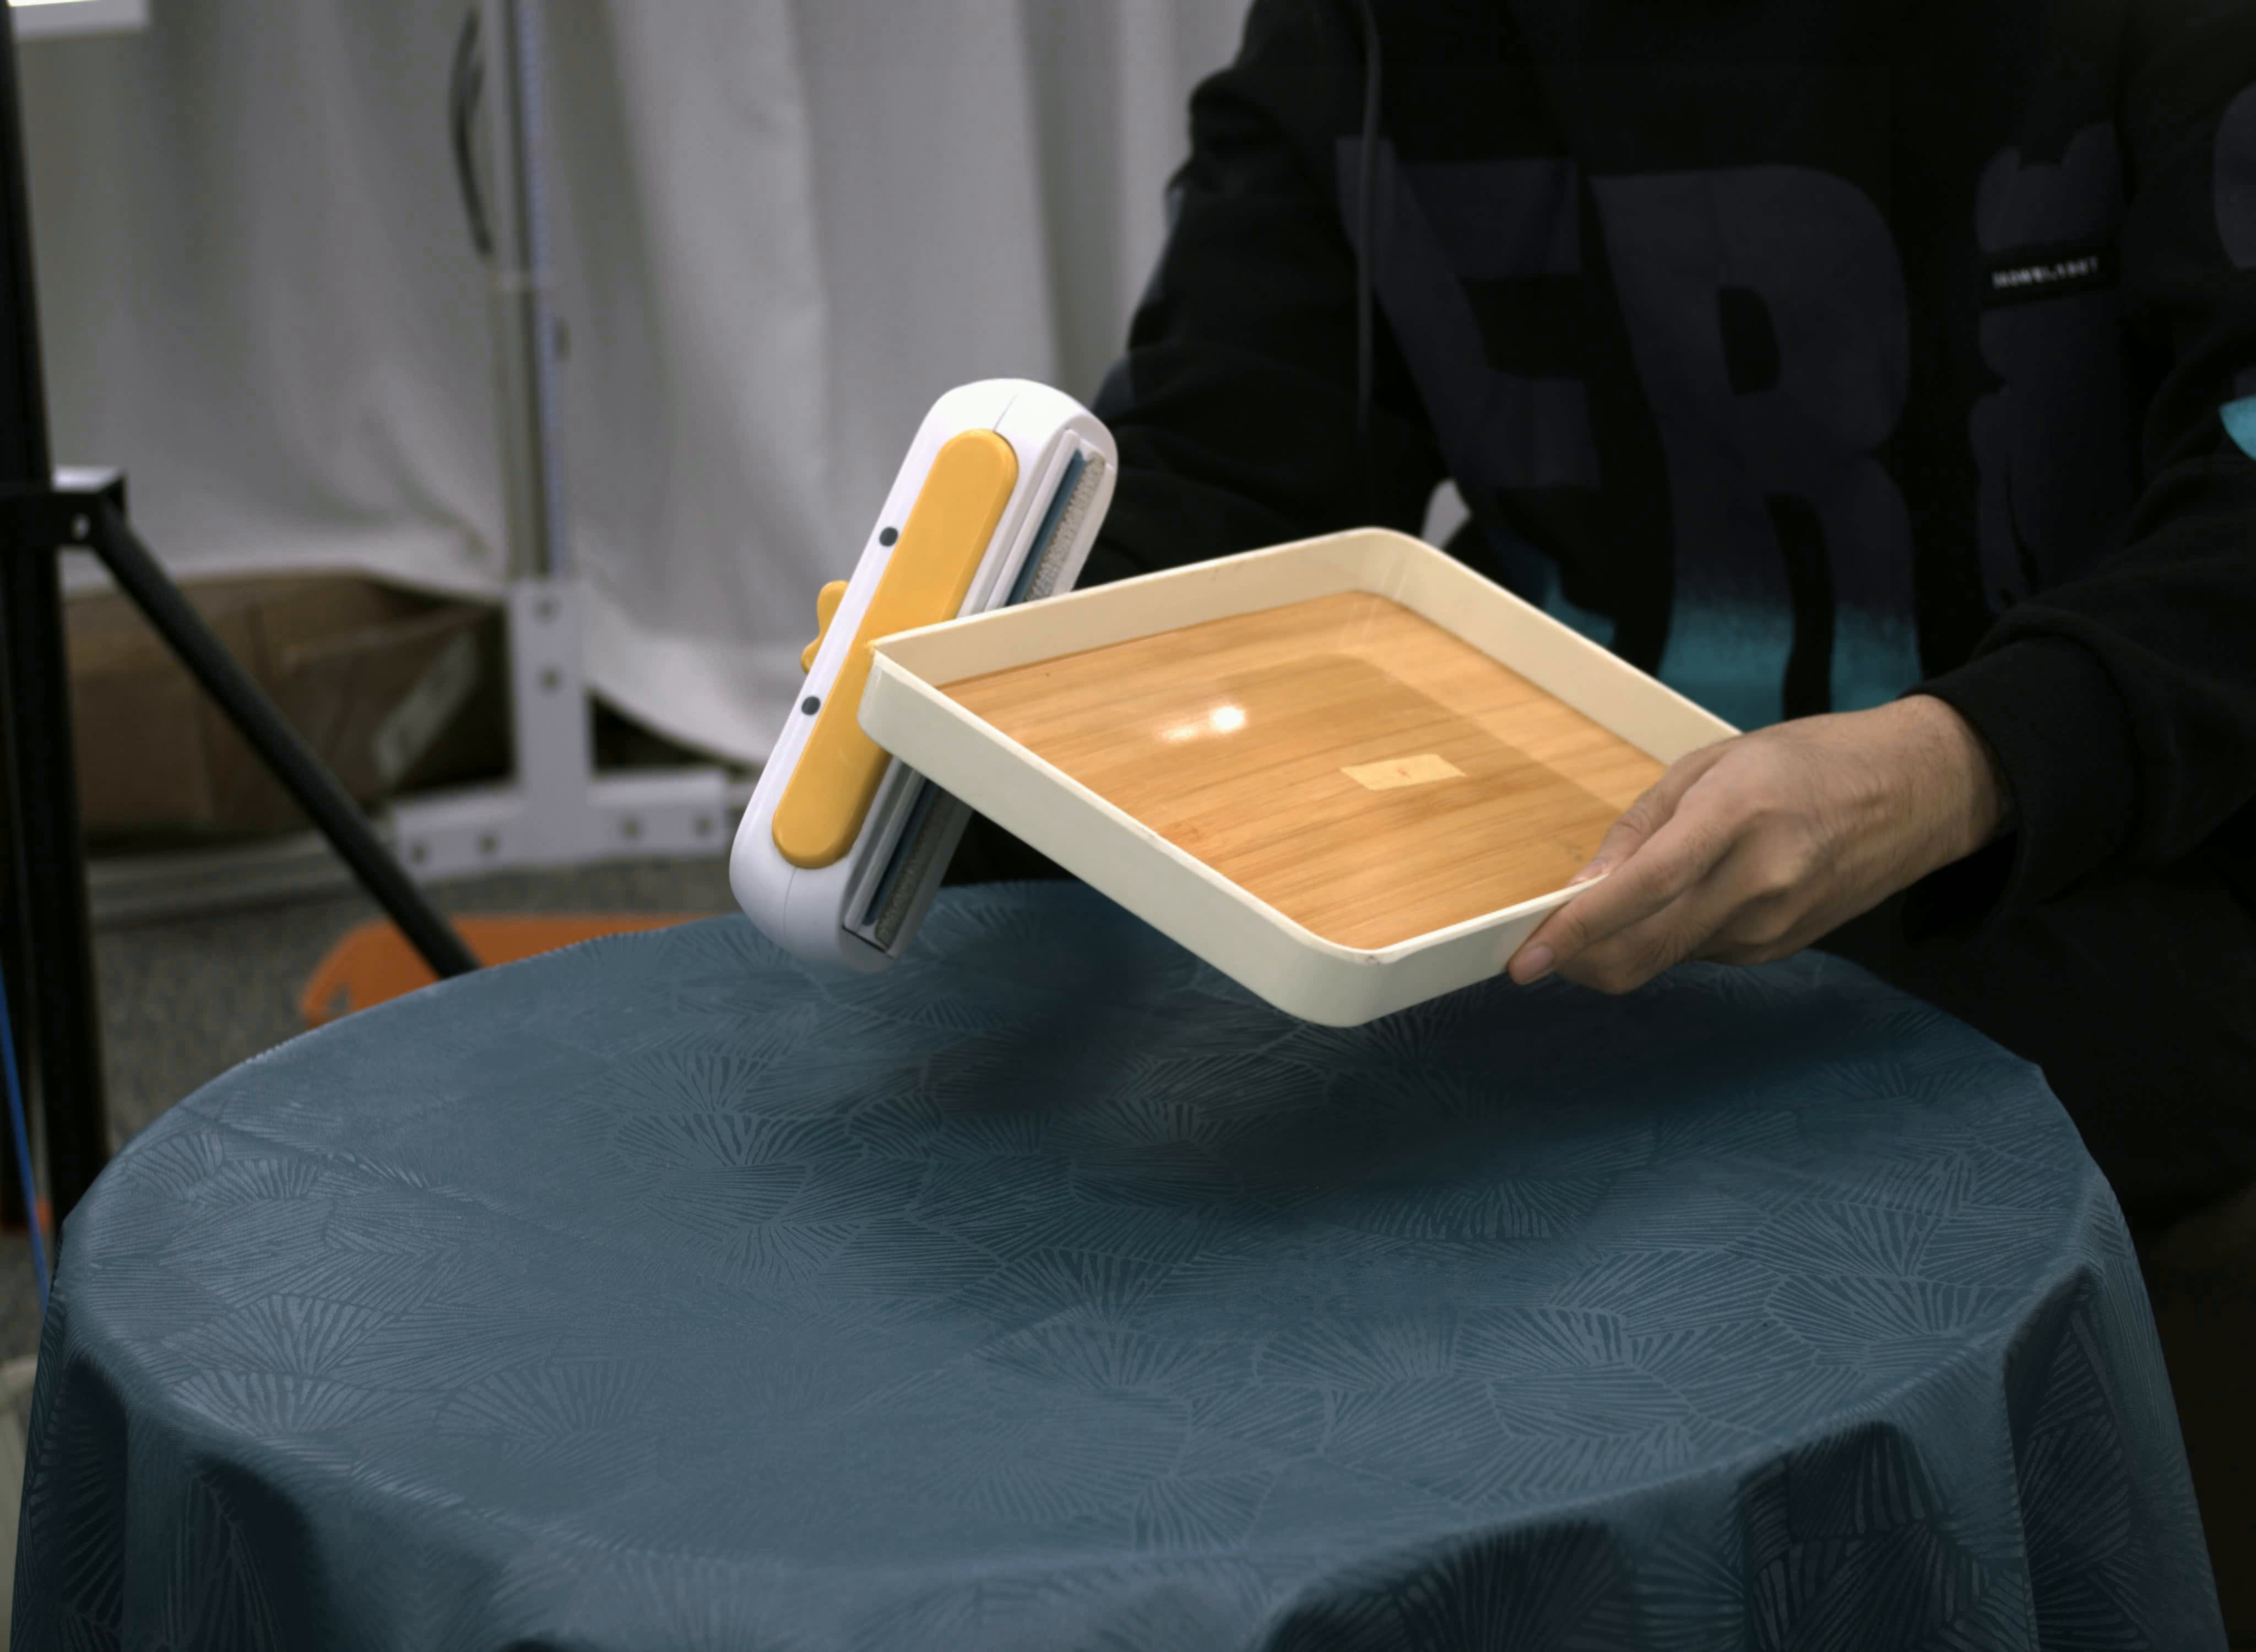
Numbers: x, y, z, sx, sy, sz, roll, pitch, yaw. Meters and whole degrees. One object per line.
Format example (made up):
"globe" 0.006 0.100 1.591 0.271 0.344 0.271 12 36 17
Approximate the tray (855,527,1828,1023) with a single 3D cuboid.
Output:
"tray" 0.071 -0.021 1.630 0.195 0.027 0.293 32 27 27

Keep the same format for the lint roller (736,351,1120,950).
"lint roller" -0.057 -0.041 1.704 0.075 0.193 0.190 17 -12 16
